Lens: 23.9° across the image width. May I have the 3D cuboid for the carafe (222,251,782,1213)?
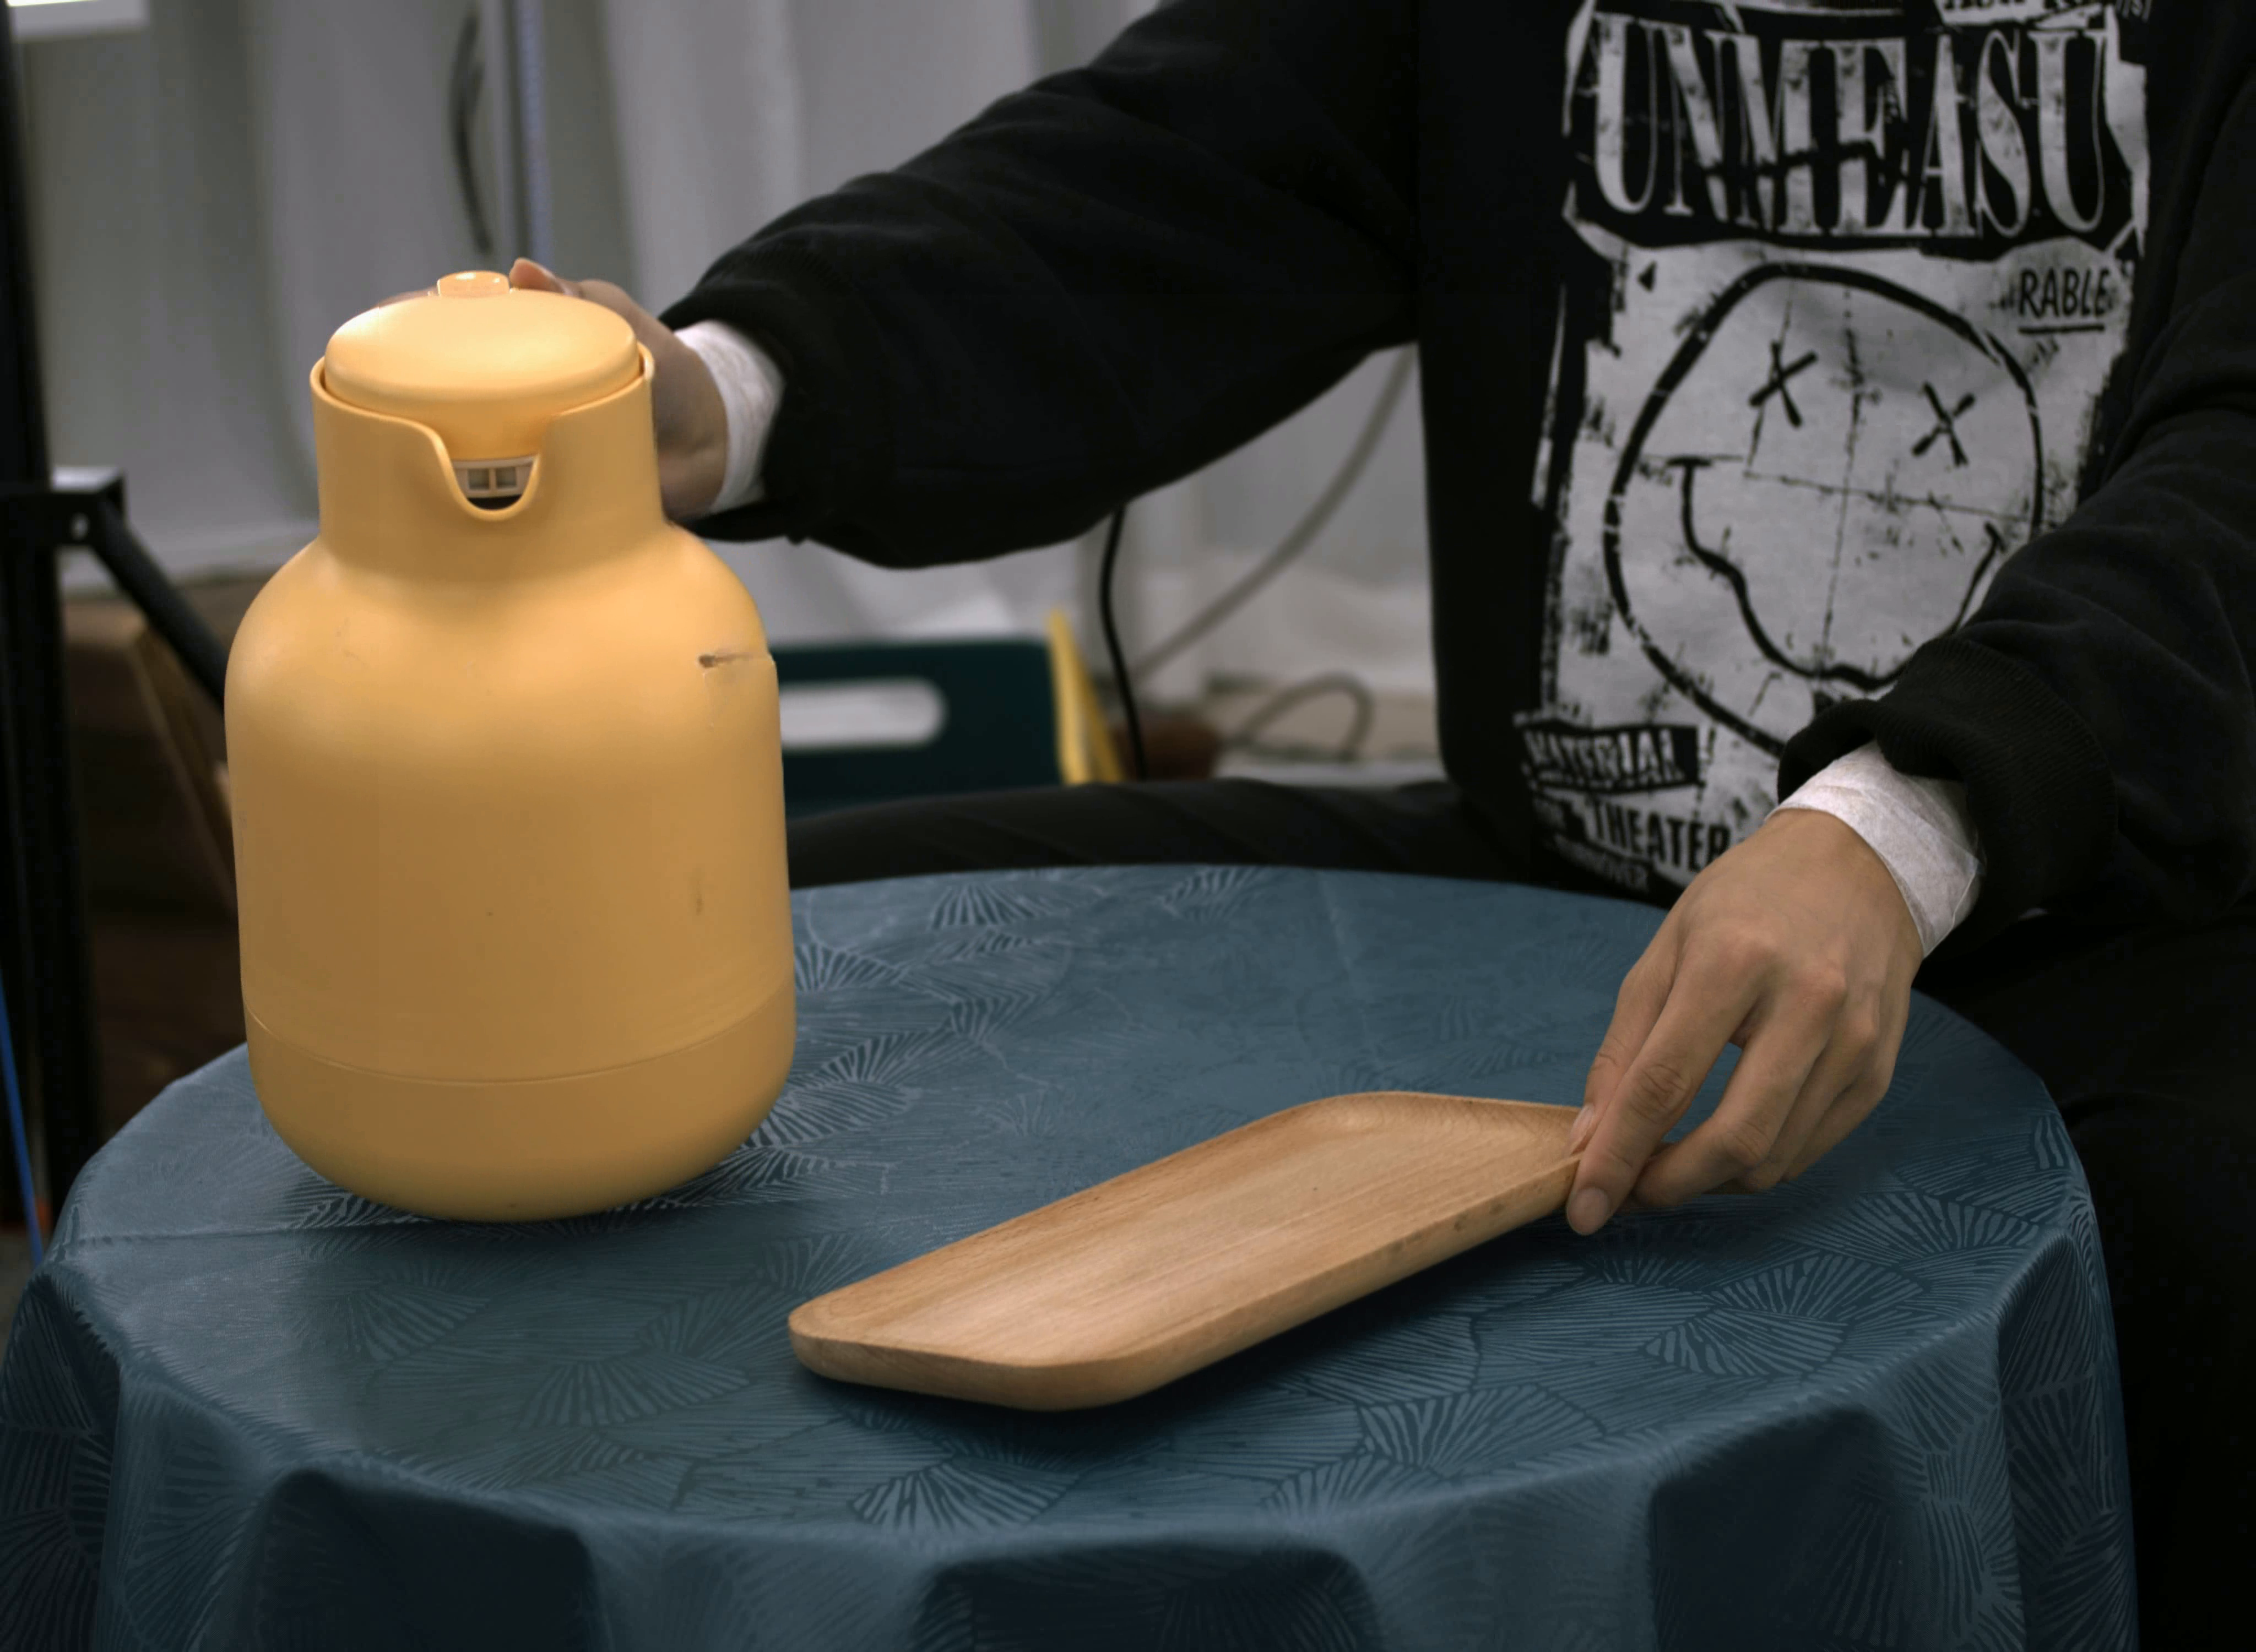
[{"bbox_3d":[-0.183,-0.036,1.571,0.162,0.260,0.204,0,24,-5],"label":"carafe"}]

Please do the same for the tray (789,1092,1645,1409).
[{"bbox_3d":[0.029,0.115,1.467,0.133,0.023,0.245,6,16,45],"label":"tray"}]
